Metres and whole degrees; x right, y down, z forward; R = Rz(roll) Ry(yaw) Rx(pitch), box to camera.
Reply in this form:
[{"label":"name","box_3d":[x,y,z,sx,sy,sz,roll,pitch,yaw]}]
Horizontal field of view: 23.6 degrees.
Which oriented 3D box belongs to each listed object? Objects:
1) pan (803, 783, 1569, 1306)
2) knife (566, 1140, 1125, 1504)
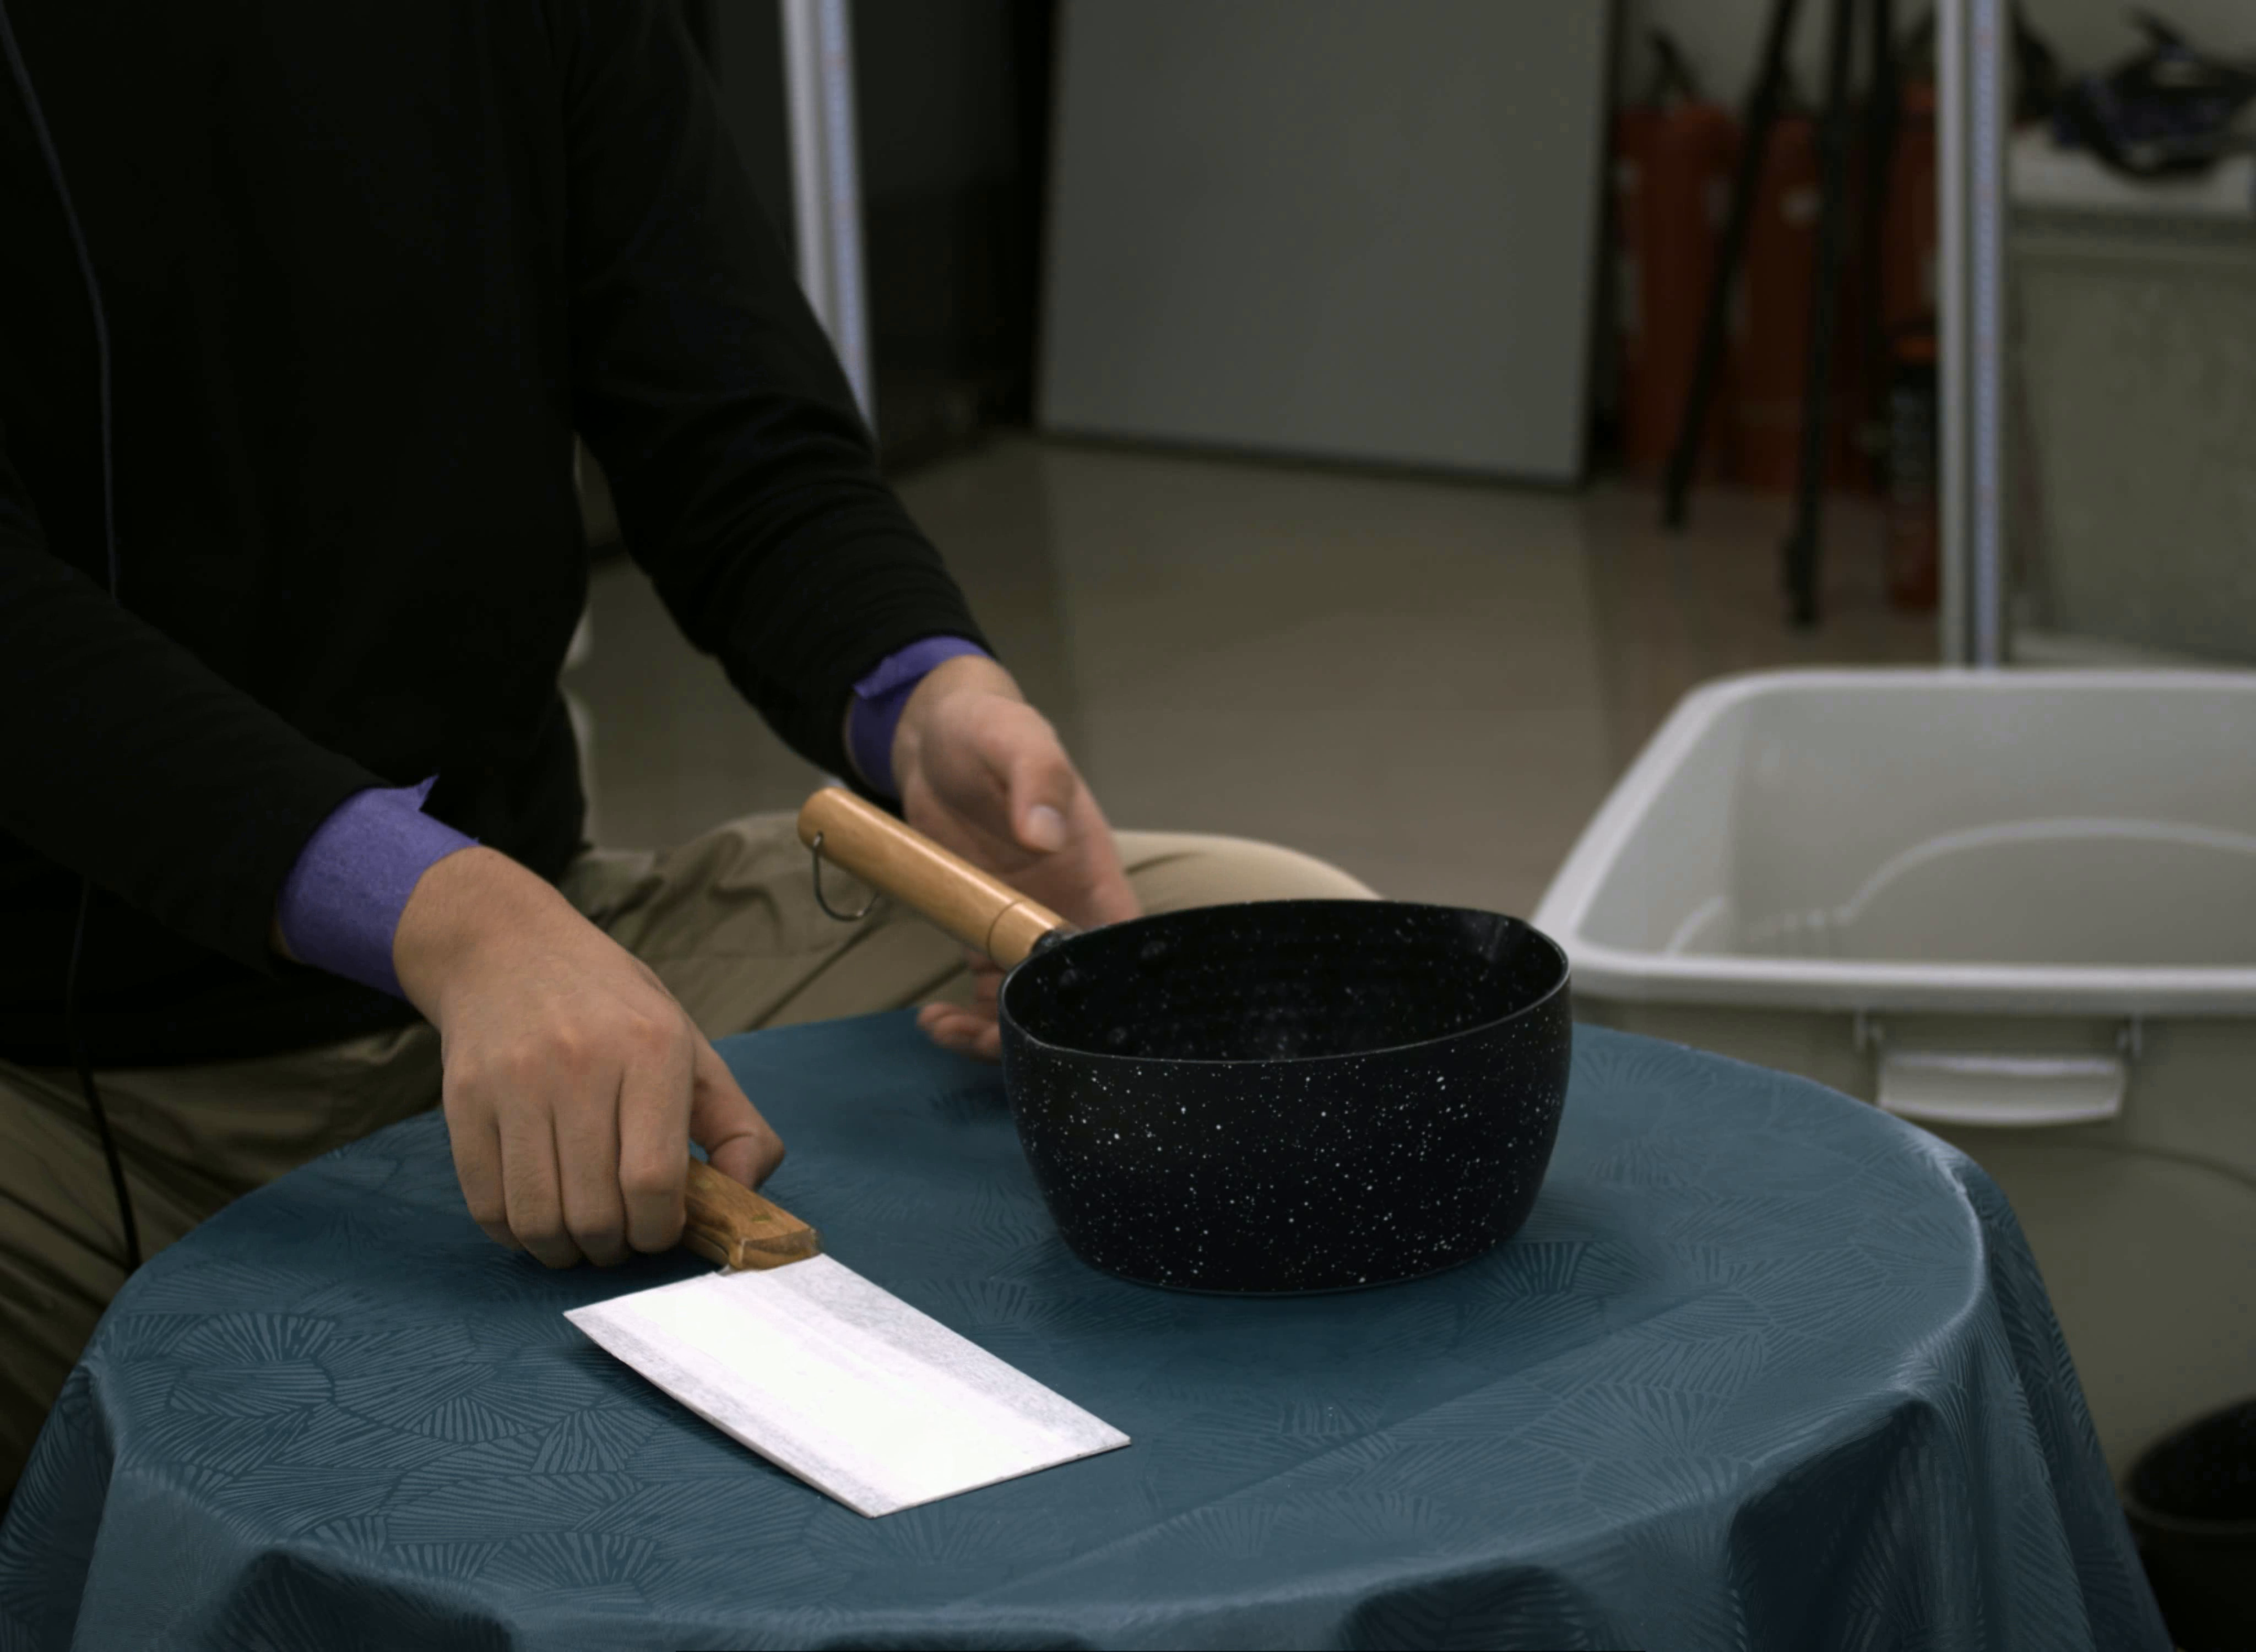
[{"label":"pan","box_3d":[0.000,0.065,1.779,0.203,0.109,0.346,-15,19,-37]},{"label":"knife","box_3d":[-0.114,0.152,1.650,0.091,0.021,0.309,-14,19,-29]}]
